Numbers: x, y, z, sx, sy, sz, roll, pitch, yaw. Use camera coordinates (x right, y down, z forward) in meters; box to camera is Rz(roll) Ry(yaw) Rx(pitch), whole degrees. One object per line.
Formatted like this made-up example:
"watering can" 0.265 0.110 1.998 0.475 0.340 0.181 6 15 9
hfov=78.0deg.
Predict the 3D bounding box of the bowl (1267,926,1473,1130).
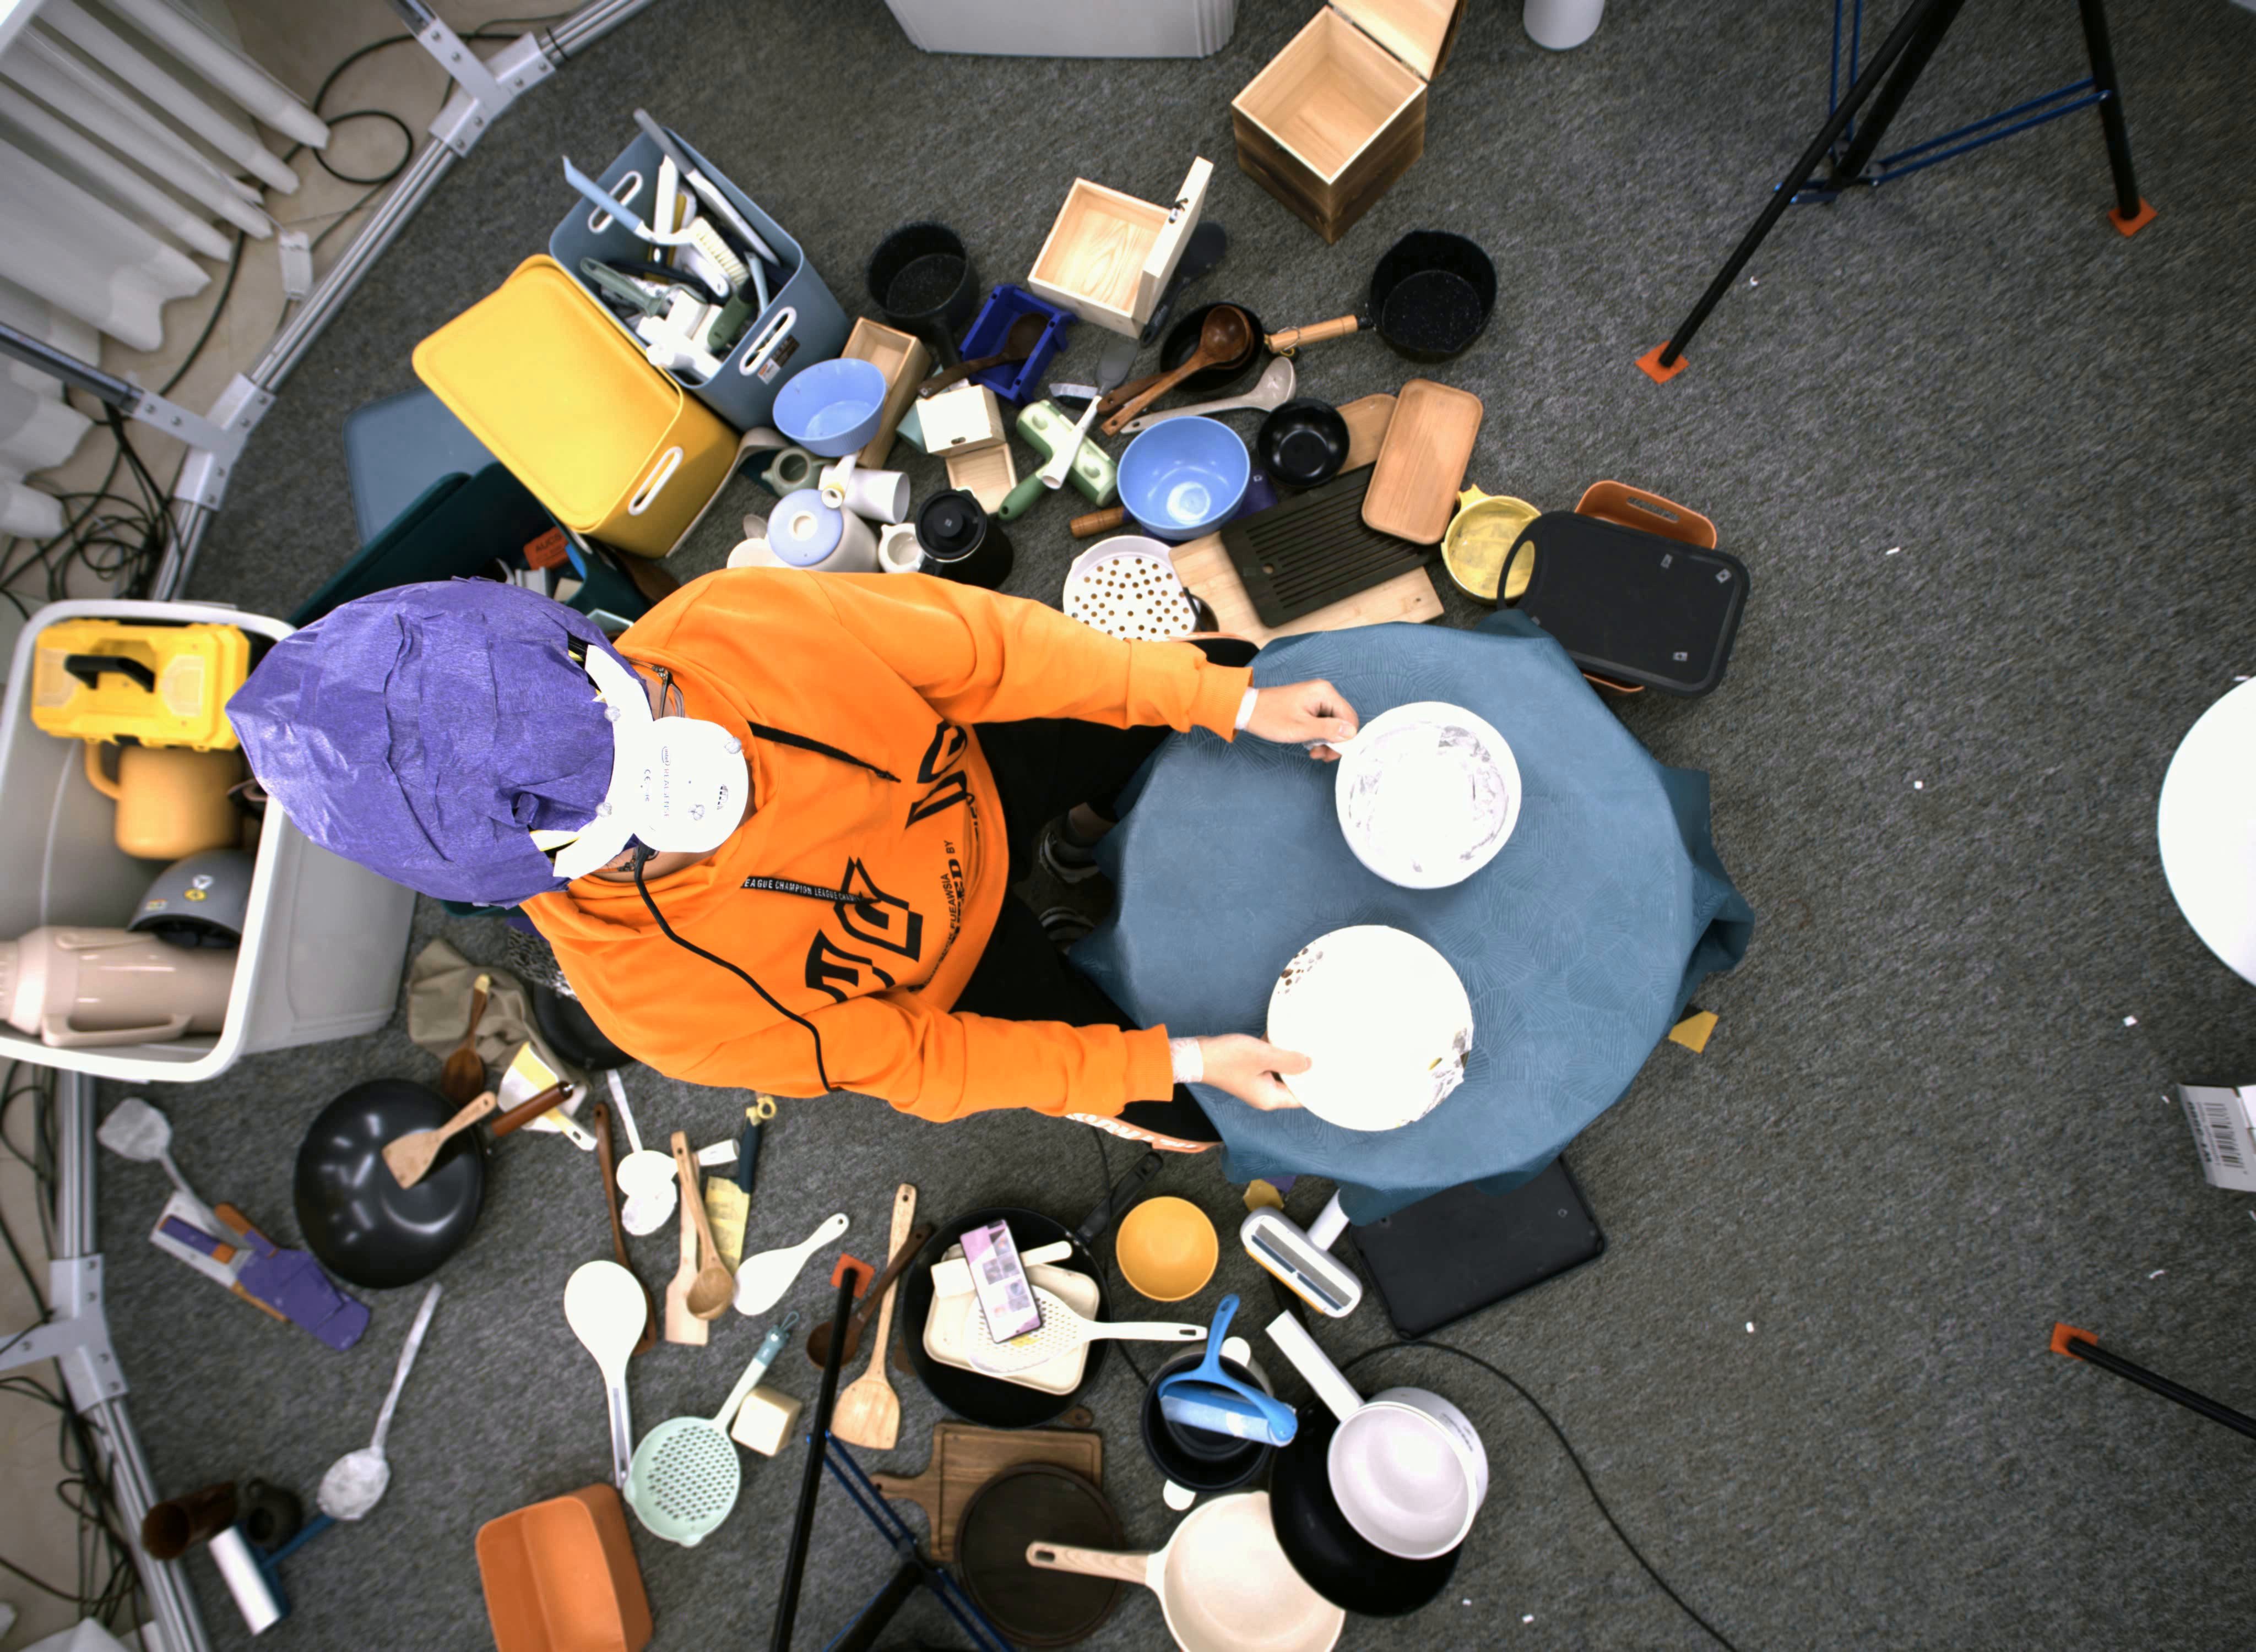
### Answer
"bowl" 0.248 0.205 1.416 0.205 0.078 0.202 -2 84 12

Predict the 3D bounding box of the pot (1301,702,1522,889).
"pot" 0.277 -0.043 1.395 0.233 0.137 0.179 33 92 11
